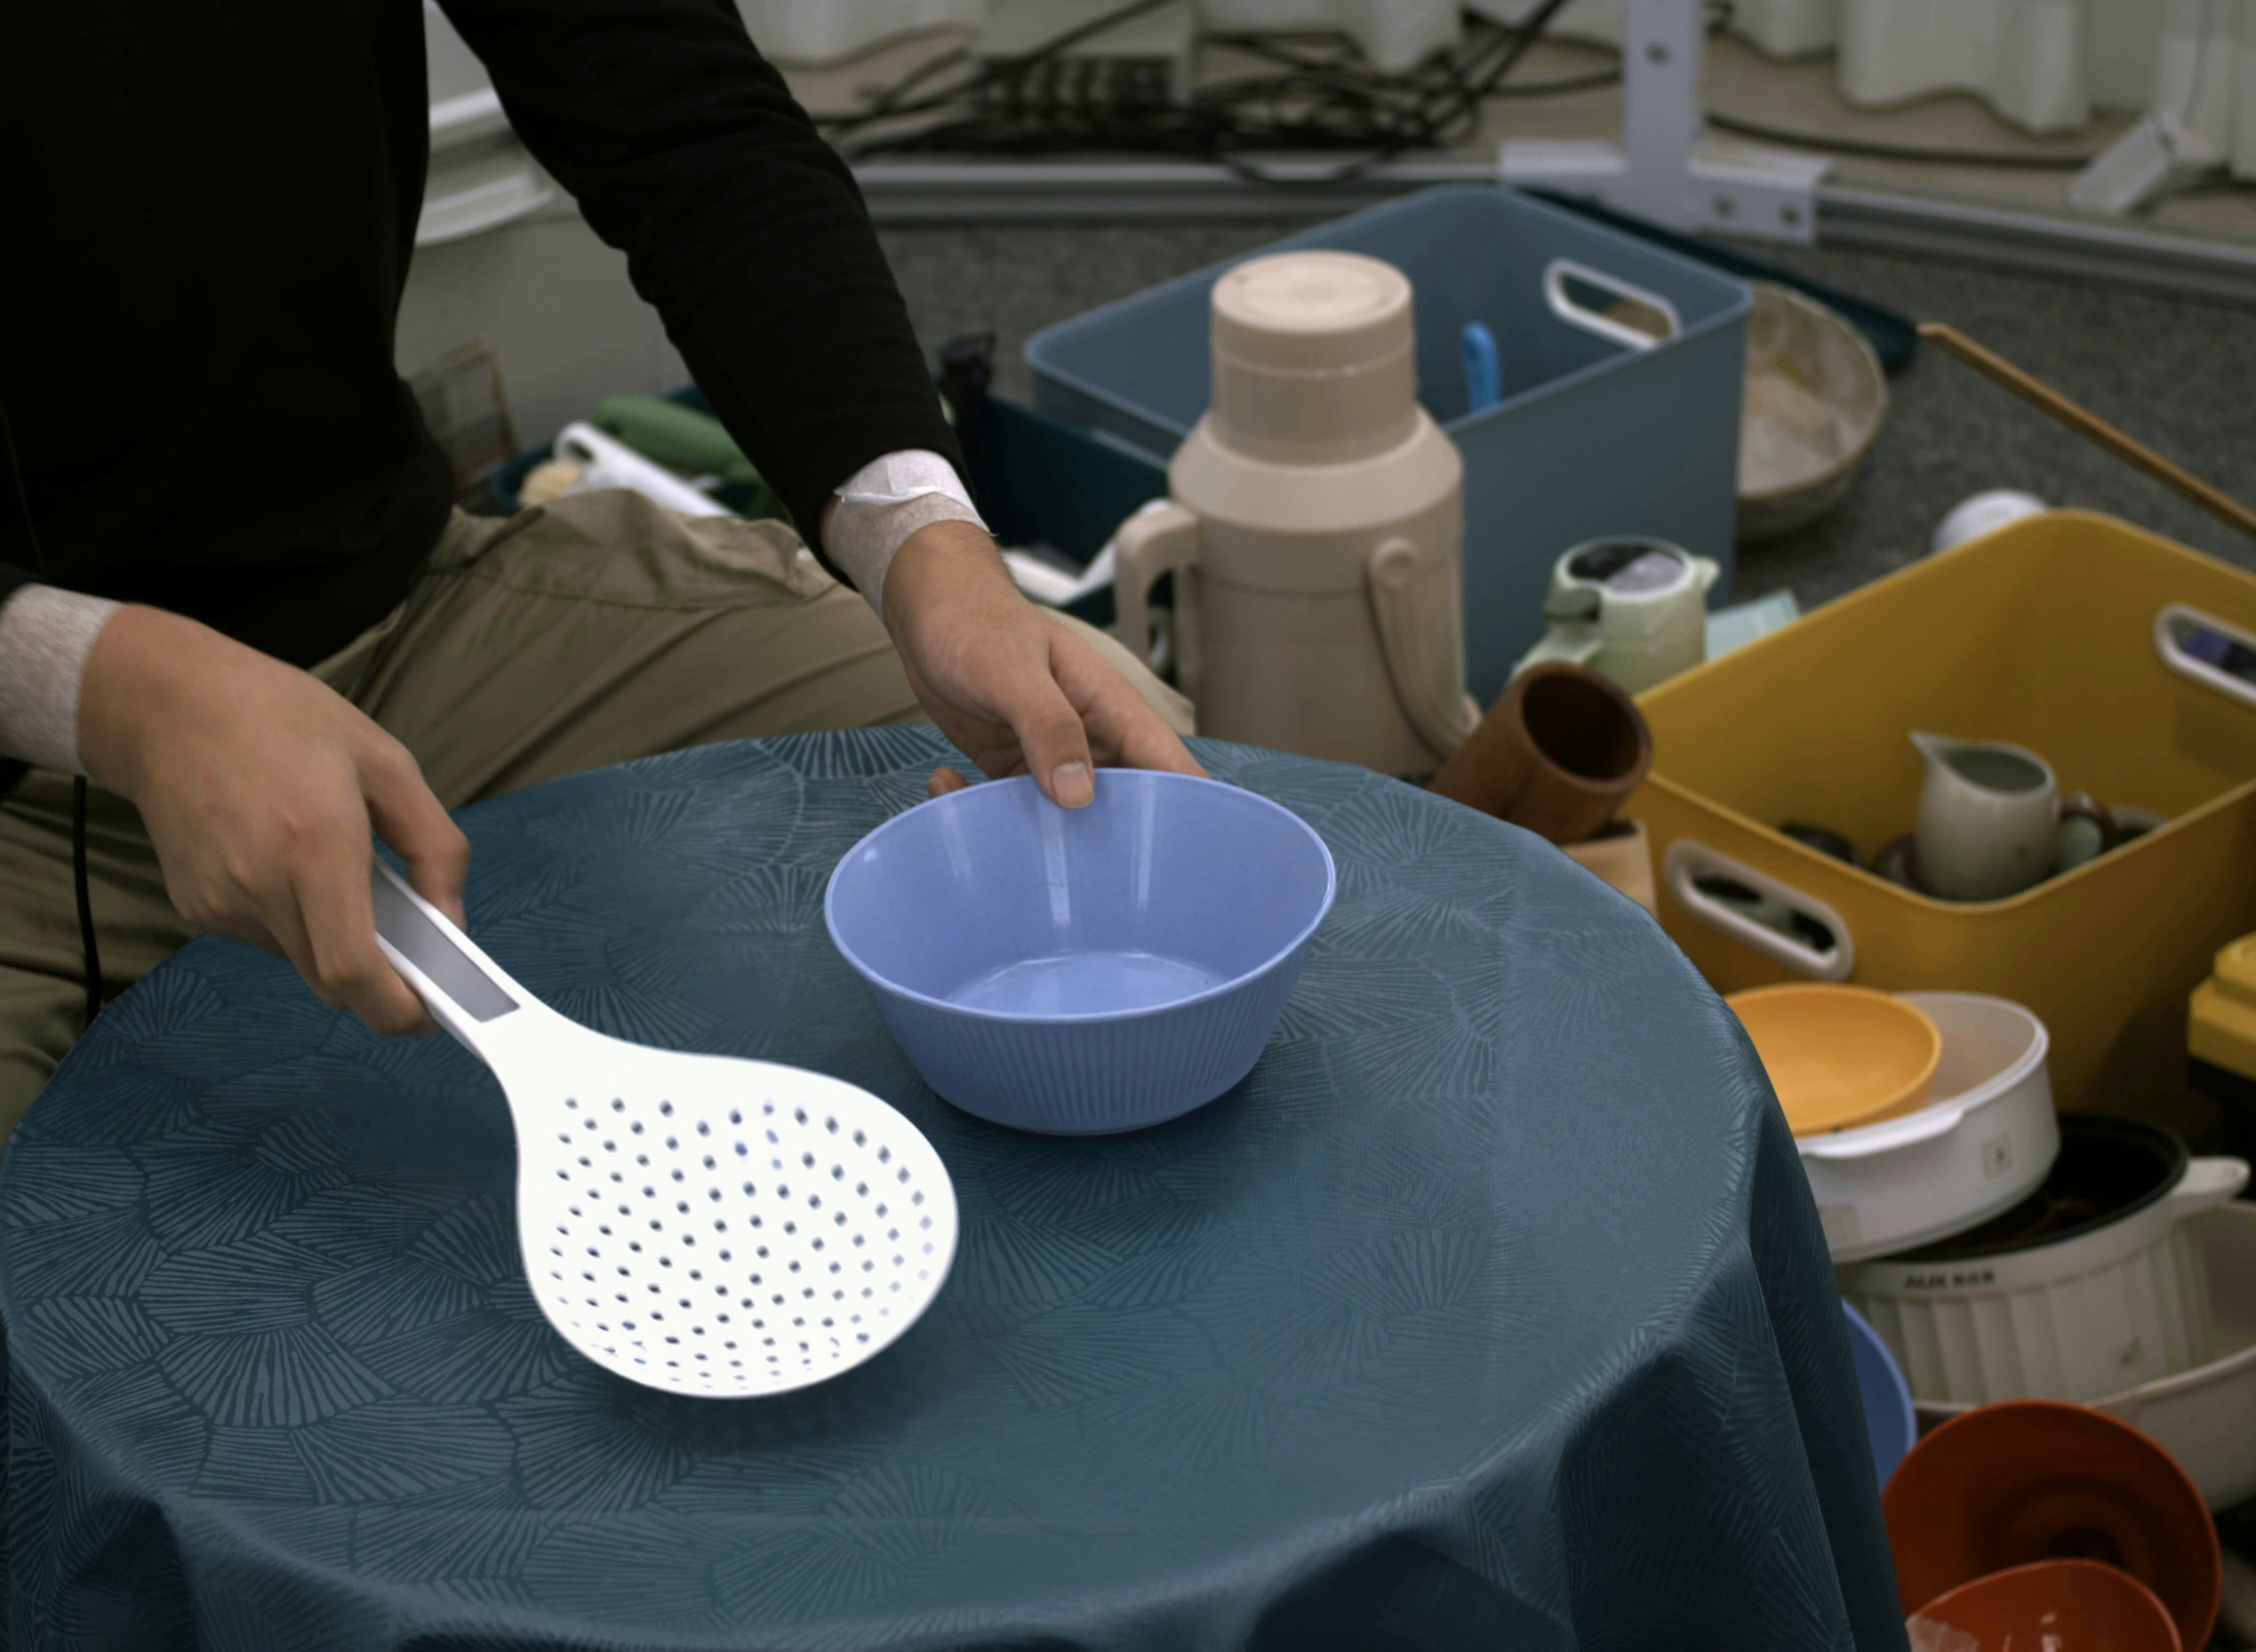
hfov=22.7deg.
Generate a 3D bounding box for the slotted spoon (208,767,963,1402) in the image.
[{"bbox_3d":[-0.191,0.078,1.830,0.137,0.045,0.351,-31,55,-29],"label":"slotted spoon"}]

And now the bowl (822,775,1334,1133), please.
[{"bbox_3d":[-0.015,0.049,1.928,0.175,0.069,0.178,-3,26,2],"label":"bowl"}]
